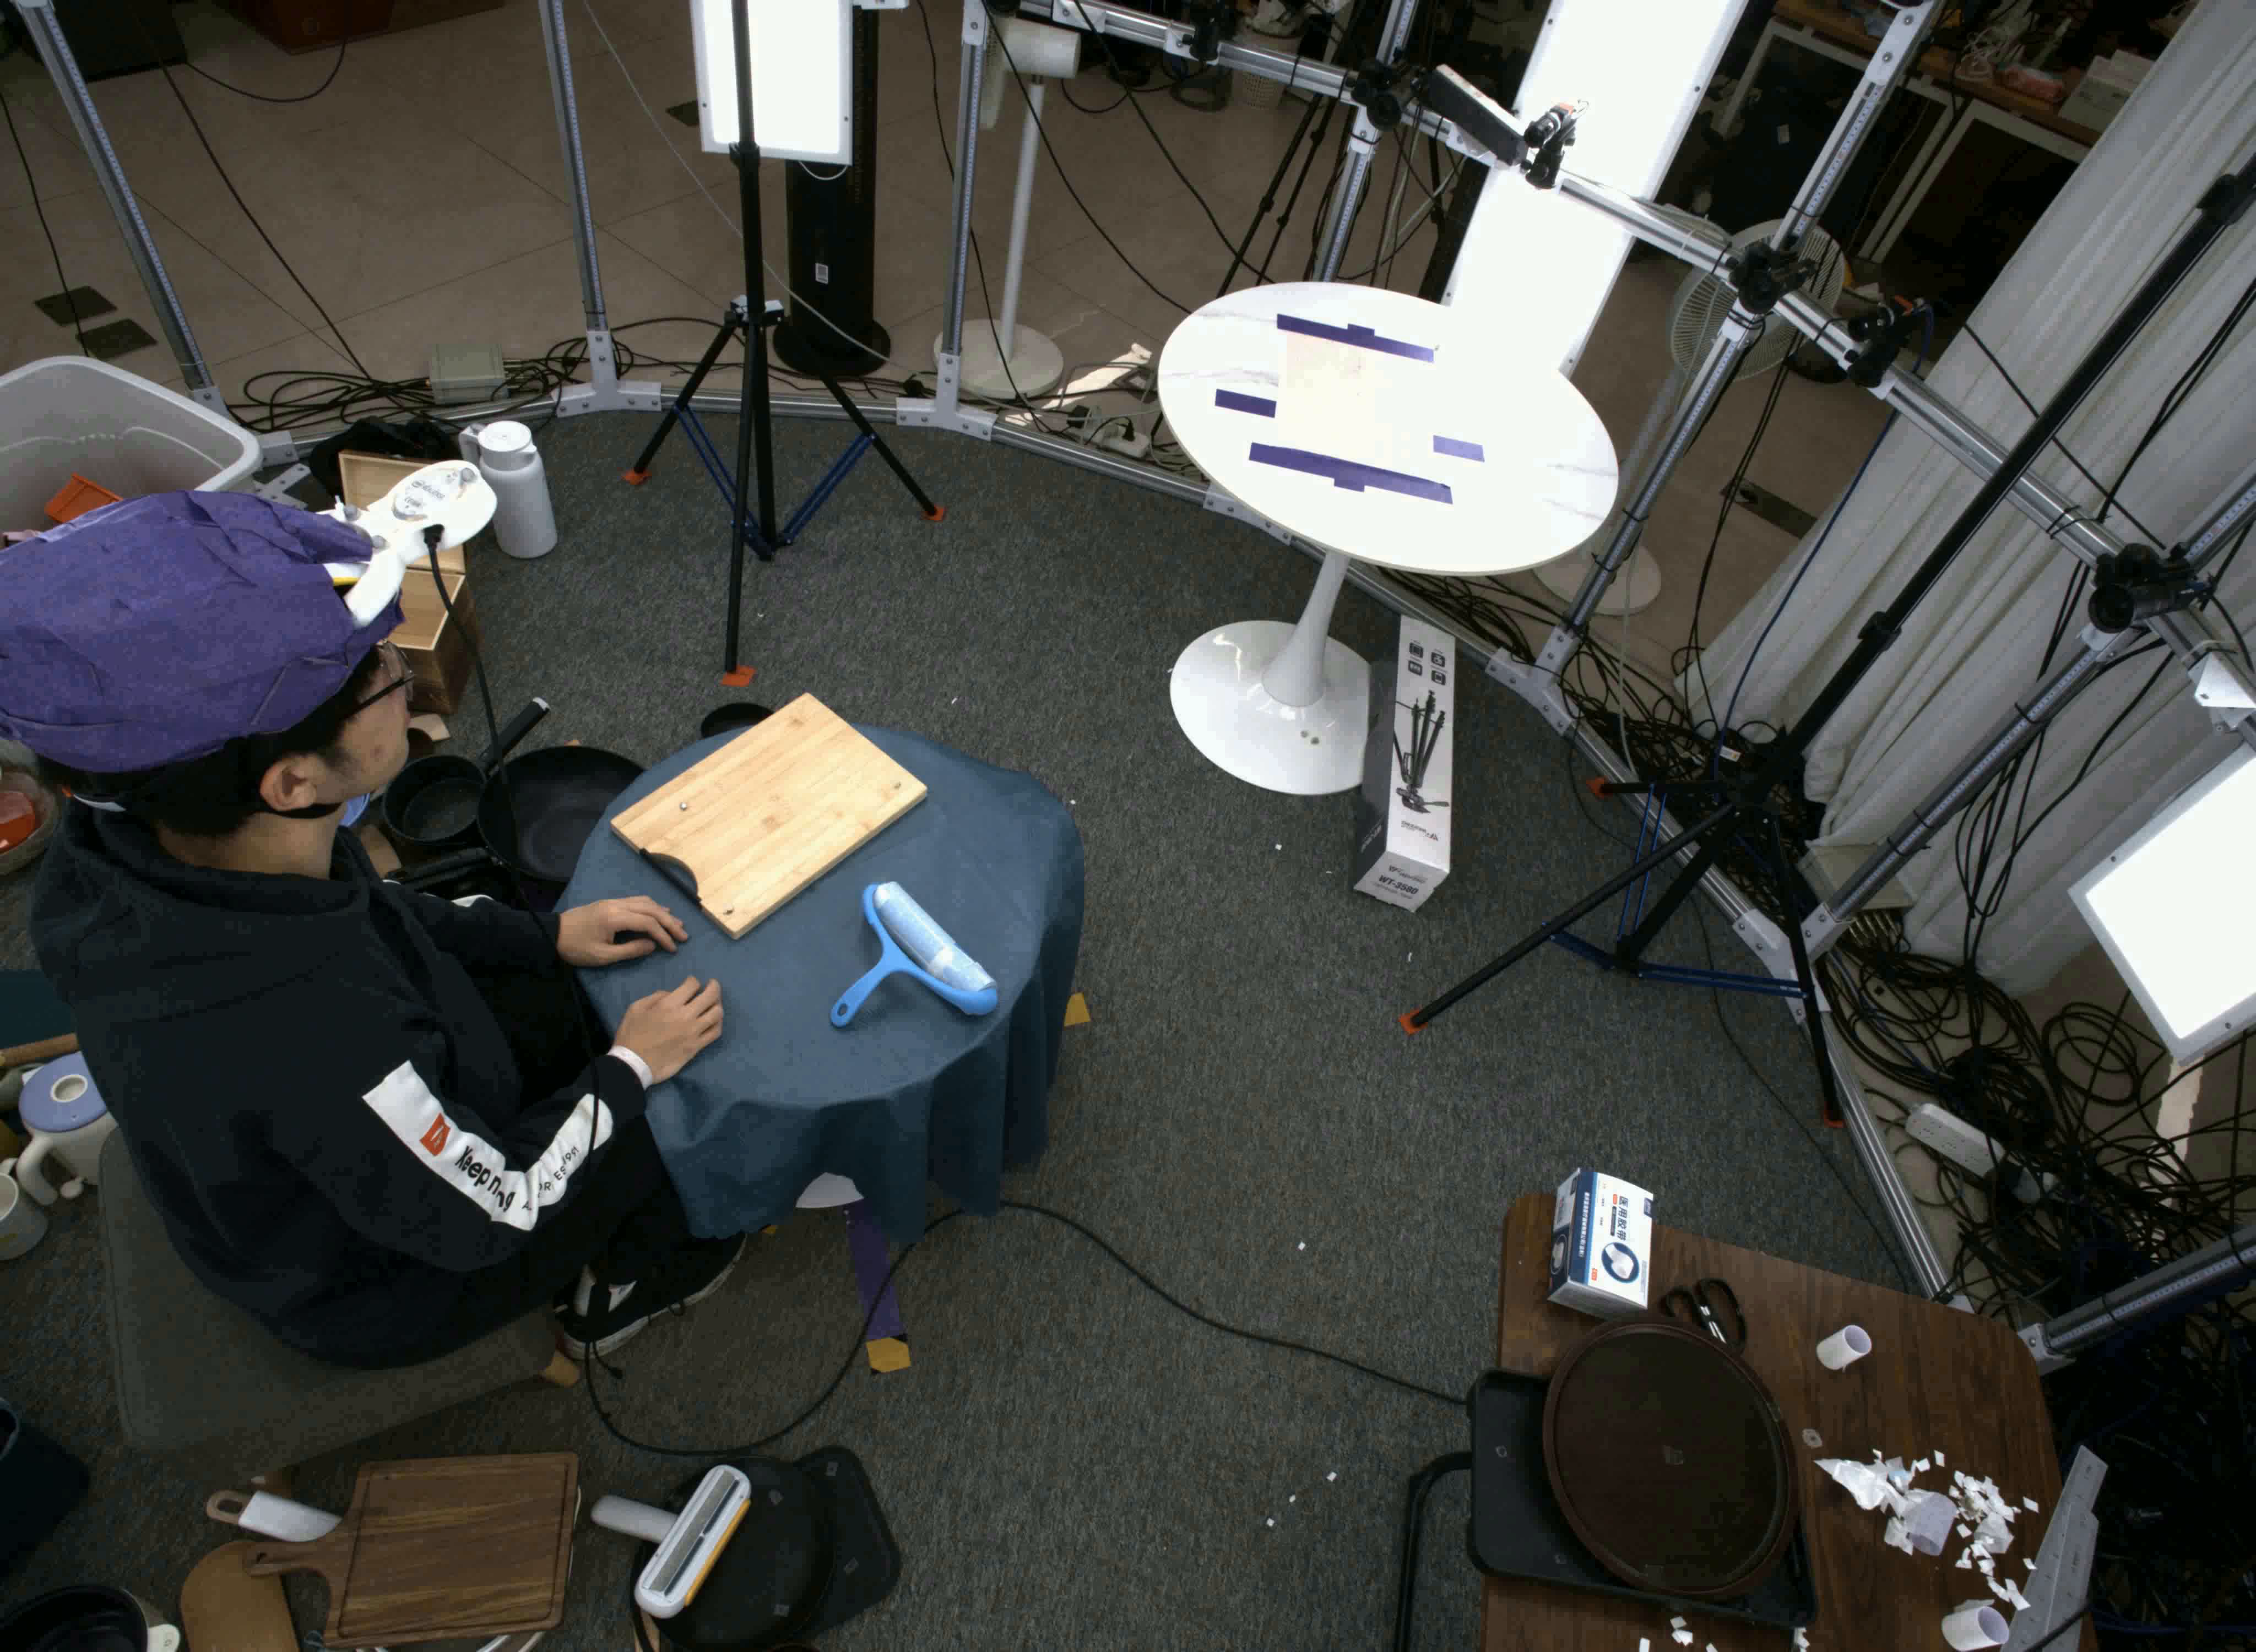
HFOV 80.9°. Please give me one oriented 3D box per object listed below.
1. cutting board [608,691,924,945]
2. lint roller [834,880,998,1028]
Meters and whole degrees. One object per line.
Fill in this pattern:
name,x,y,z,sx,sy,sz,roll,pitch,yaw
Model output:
cutting board,-0.476,-0.022,1.722,0.246,0.024,0.348,37,54,13
lint roller,-0.286,0.177,1.599,0.224,0.069,0.180,41,54,14
